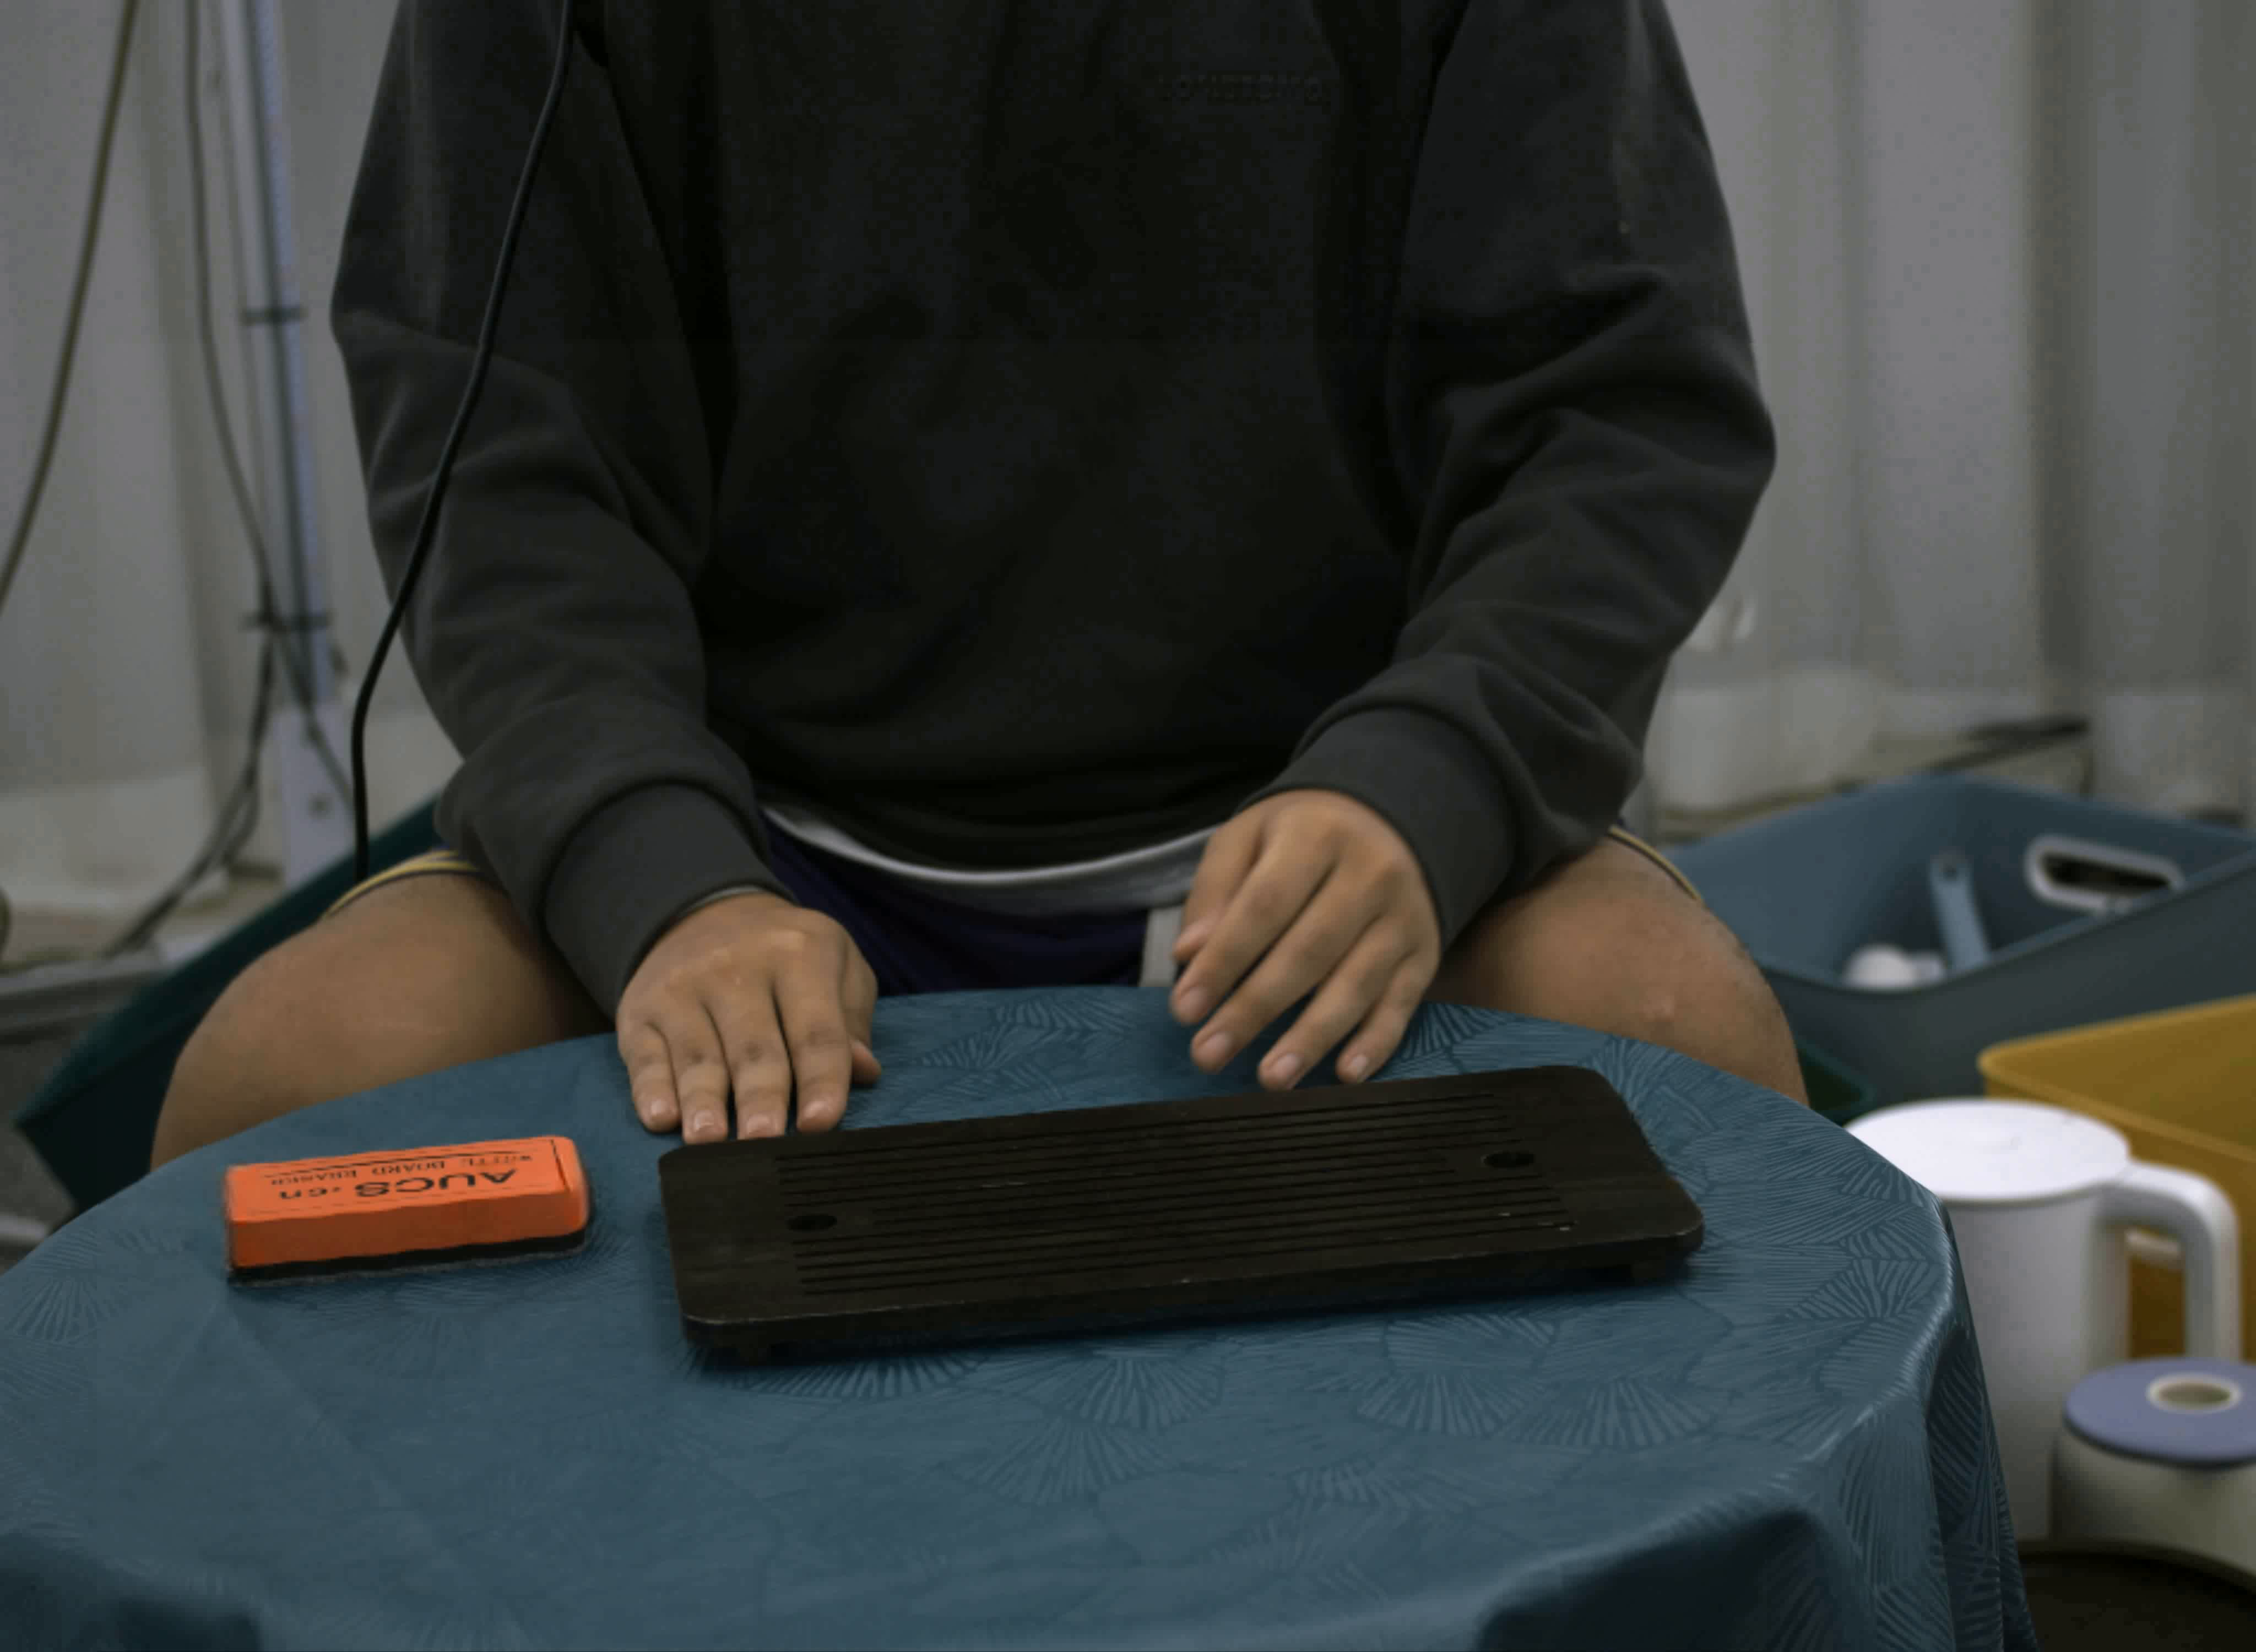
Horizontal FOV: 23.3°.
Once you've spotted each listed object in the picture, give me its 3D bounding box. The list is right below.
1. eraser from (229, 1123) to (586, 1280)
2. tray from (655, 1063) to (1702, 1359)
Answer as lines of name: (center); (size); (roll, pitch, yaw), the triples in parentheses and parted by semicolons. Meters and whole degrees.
eraser: (-0.224, 0.116, 1.697); (0.107, 0.023, 0.059); (-6, 15, -8)
tray: (0.011, 0.117, 1.671); (0.305, 0.018, 0.171); (-5, 15, -6)
